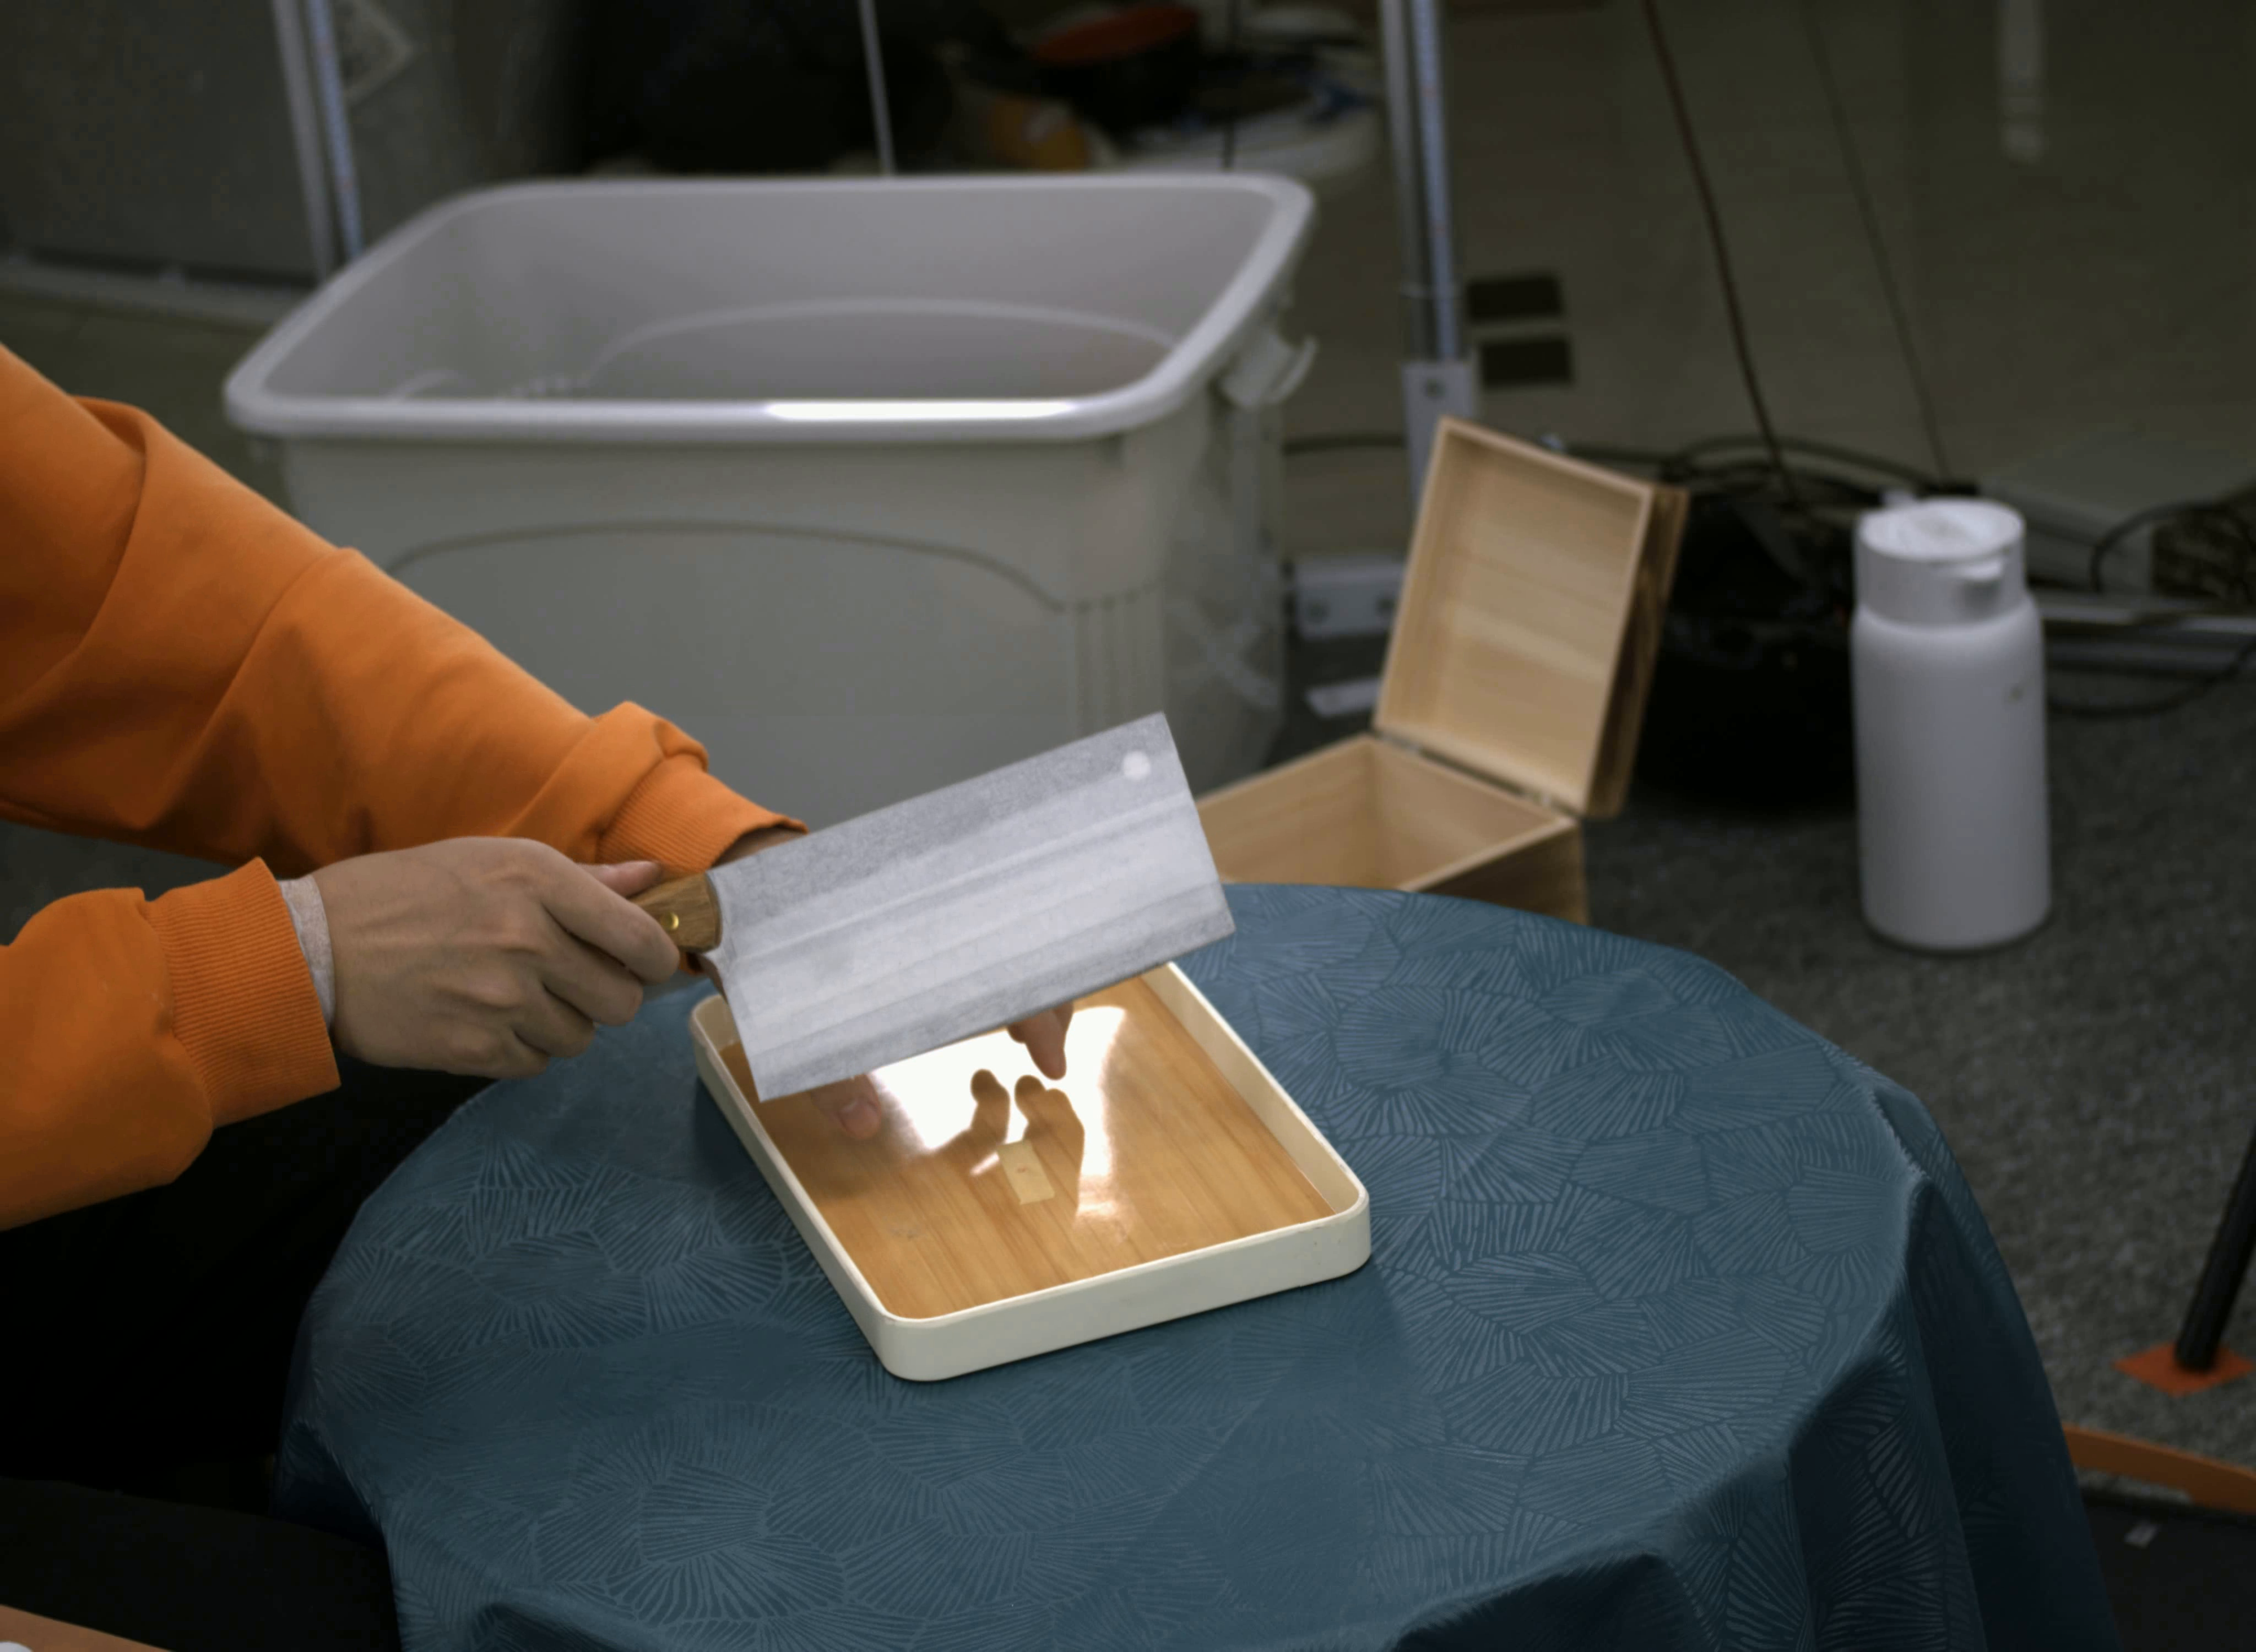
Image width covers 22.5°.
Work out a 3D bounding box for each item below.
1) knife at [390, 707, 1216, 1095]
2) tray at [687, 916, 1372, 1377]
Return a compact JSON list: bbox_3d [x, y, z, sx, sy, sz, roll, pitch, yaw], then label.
[{"bbox_3d":[-0.116,0.045,2.089,0.305,0.093,0.021,-20,11,-6],"label":"knife"},{"bbox_3d":[-0.043,0.116,2.173,0.191,0.028,0.296,-13,26,-15],"label":"tray"}]
